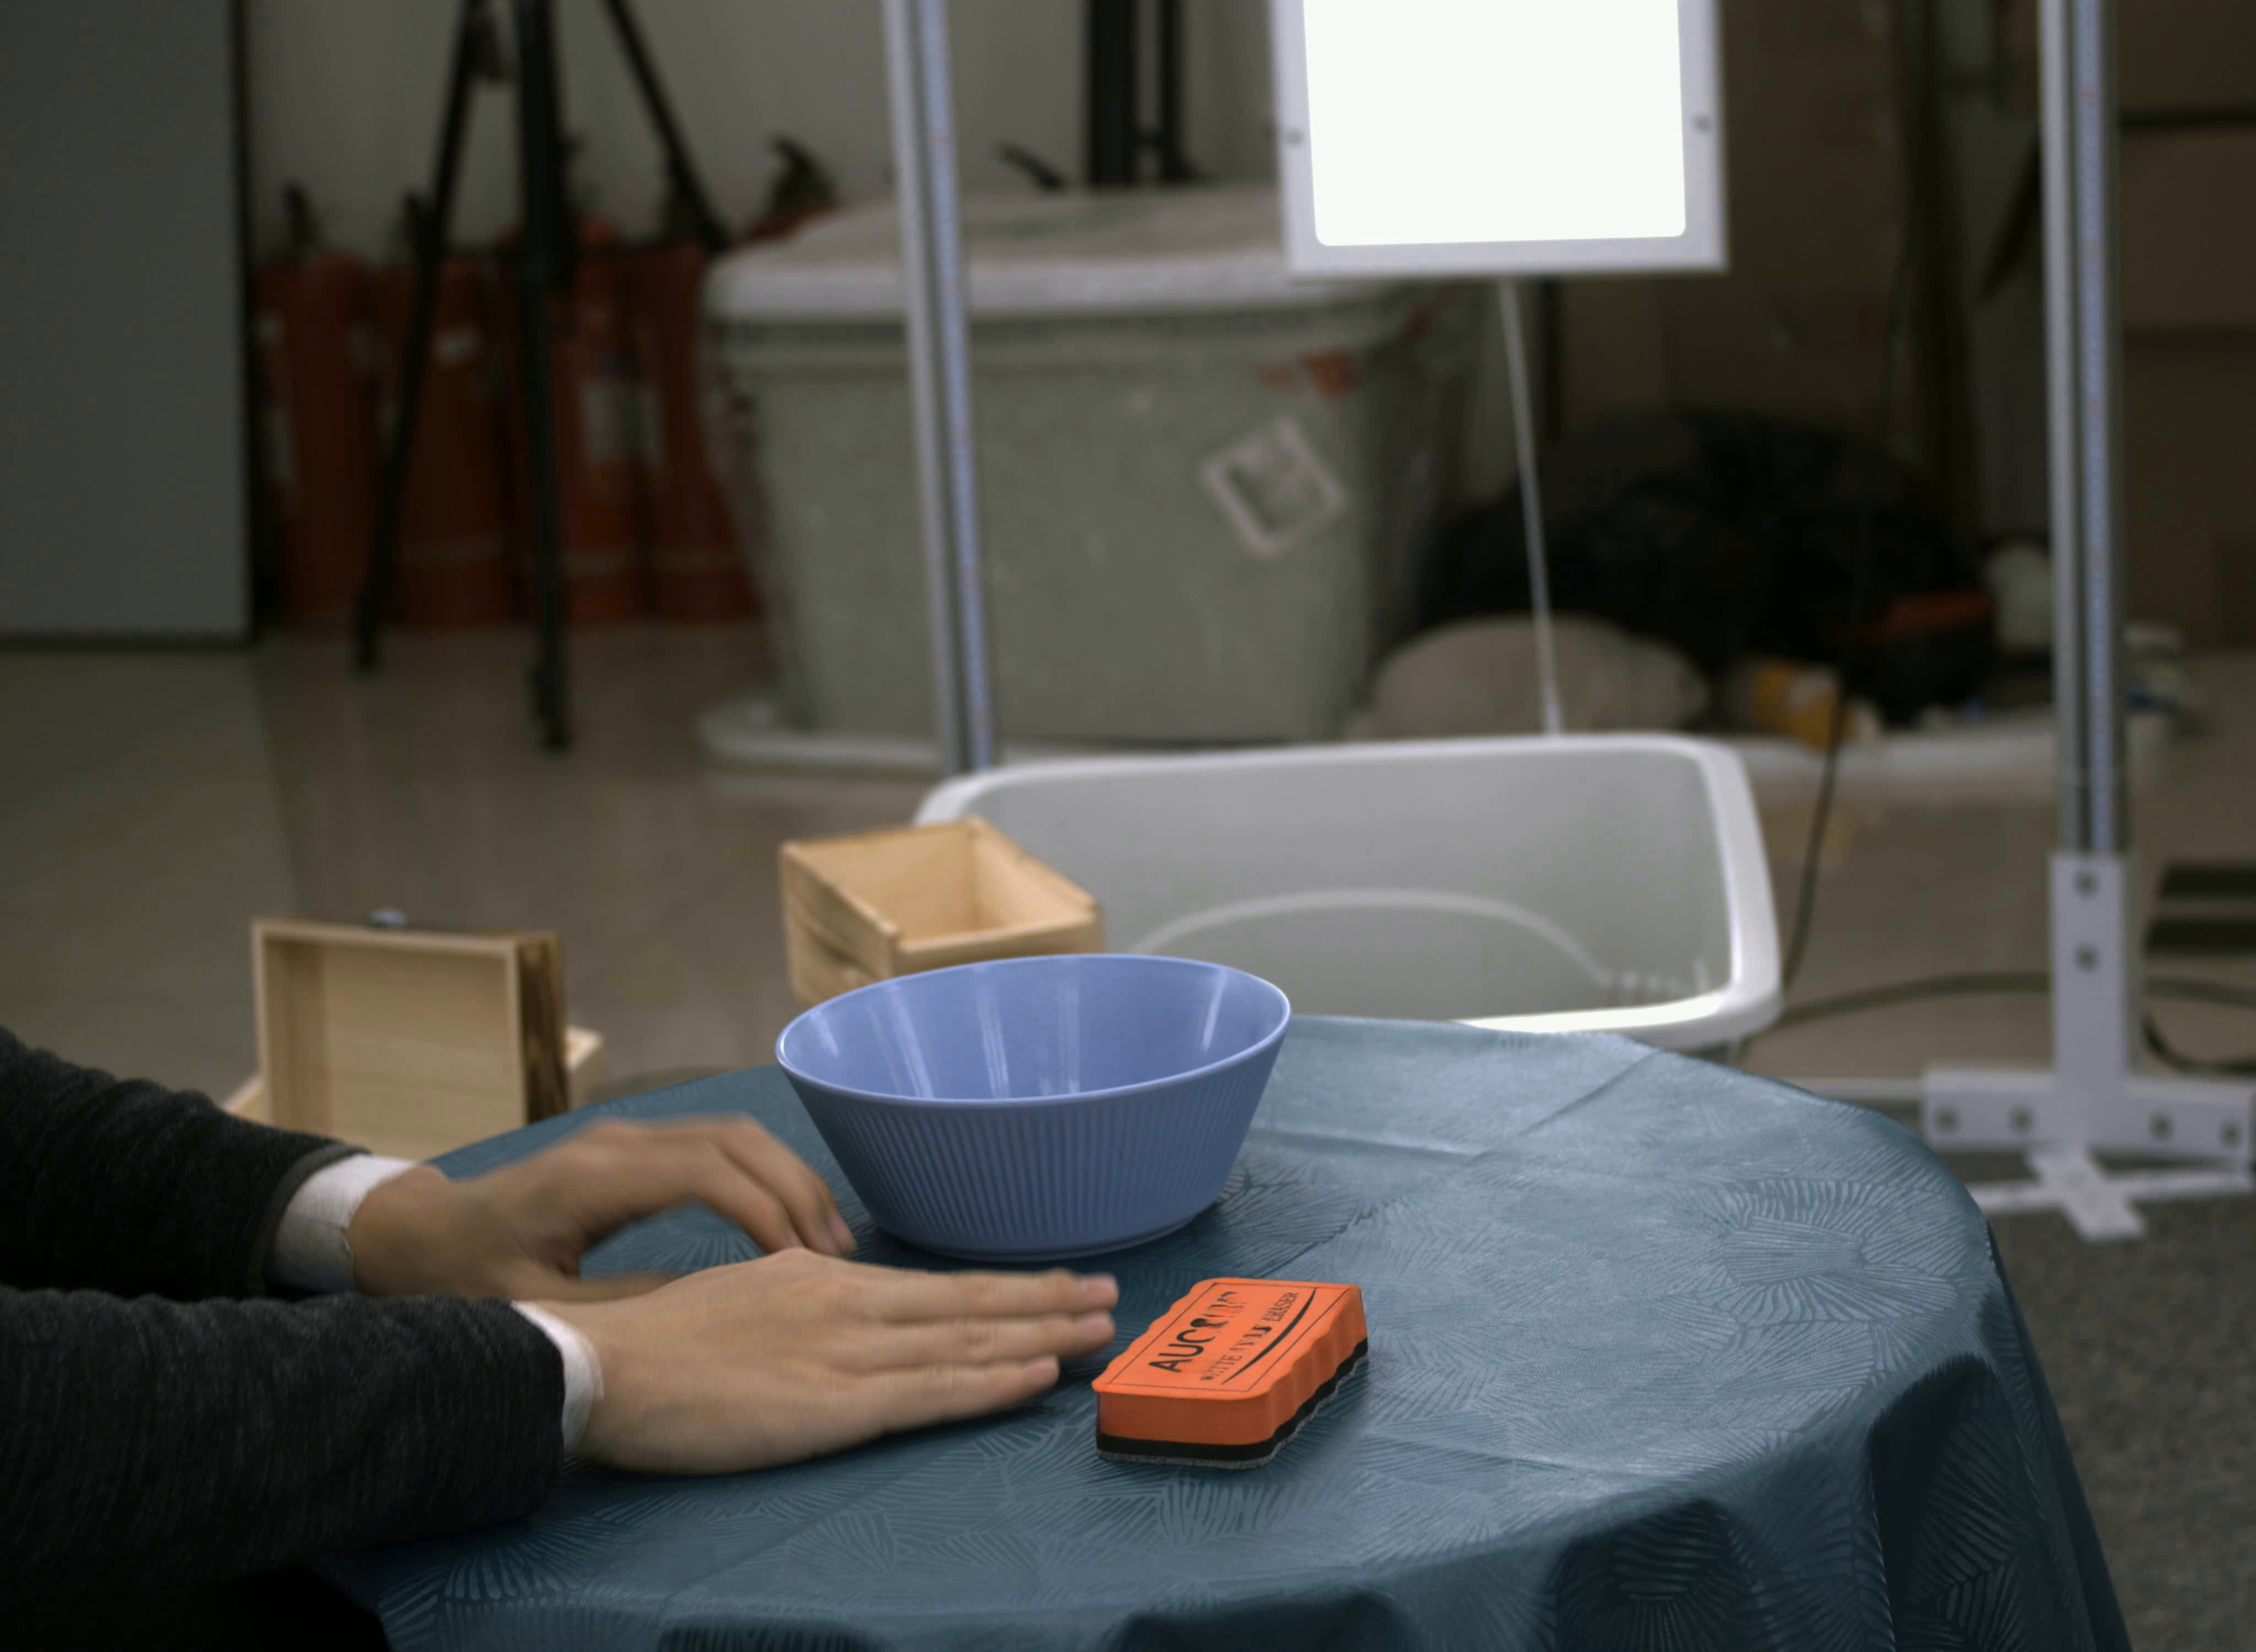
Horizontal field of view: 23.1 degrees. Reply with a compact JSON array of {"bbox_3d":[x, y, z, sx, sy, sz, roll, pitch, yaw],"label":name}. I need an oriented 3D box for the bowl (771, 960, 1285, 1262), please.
[{"bbox_3d":[-0.032,0.099,1.876,0.175,0.070,0.176,-5,14,0],"label":"bowl"}]

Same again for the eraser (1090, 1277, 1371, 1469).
[{"bbox_3d":[0.032,0.166,1.677,0.060,0.023,0.106,2,16,22],"label":"eraser"}]
